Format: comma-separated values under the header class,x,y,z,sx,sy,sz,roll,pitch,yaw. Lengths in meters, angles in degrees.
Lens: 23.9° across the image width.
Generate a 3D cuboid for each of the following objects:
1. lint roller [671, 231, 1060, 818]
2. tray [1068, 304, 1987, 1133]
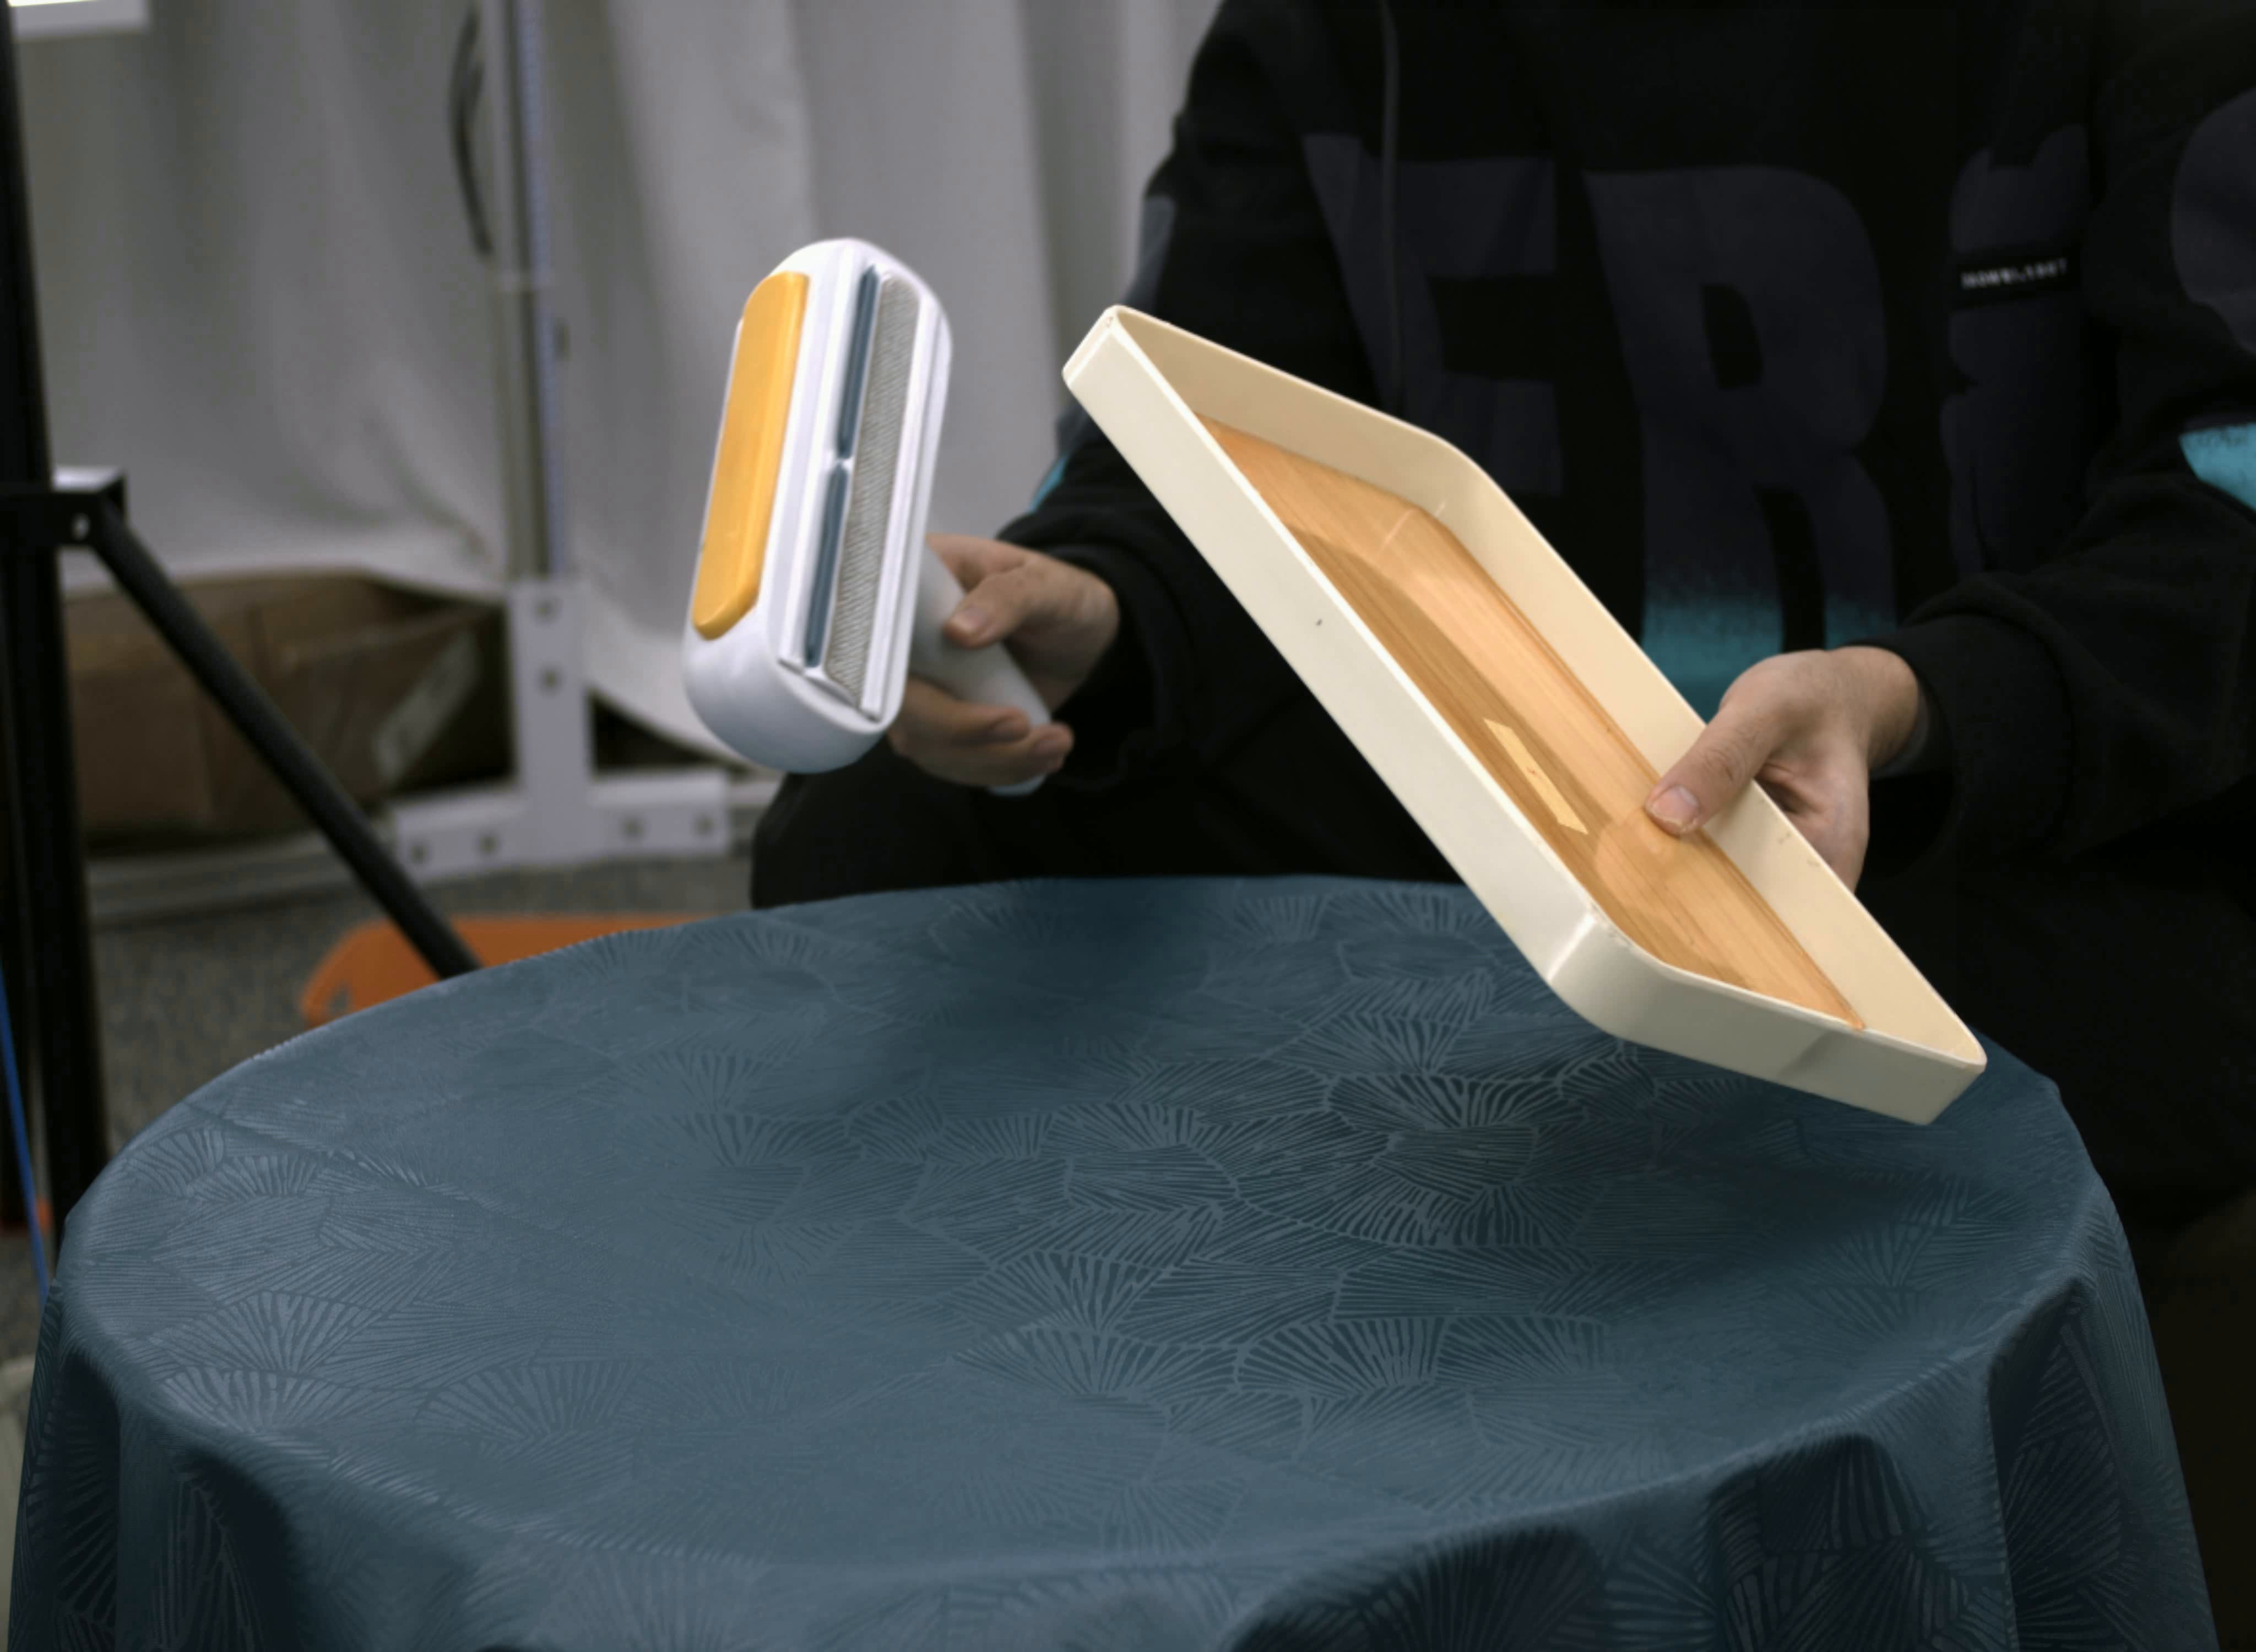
class,x,y,z,sx,sy,sz,roll,pitch,yaw
lint roller,-0.071,-0.073,1.757,0.075,0.188,0.194,-26,40,31
tray,0.114,-0.032,1.542,0.186,0.027,0.307,19,26,-47
